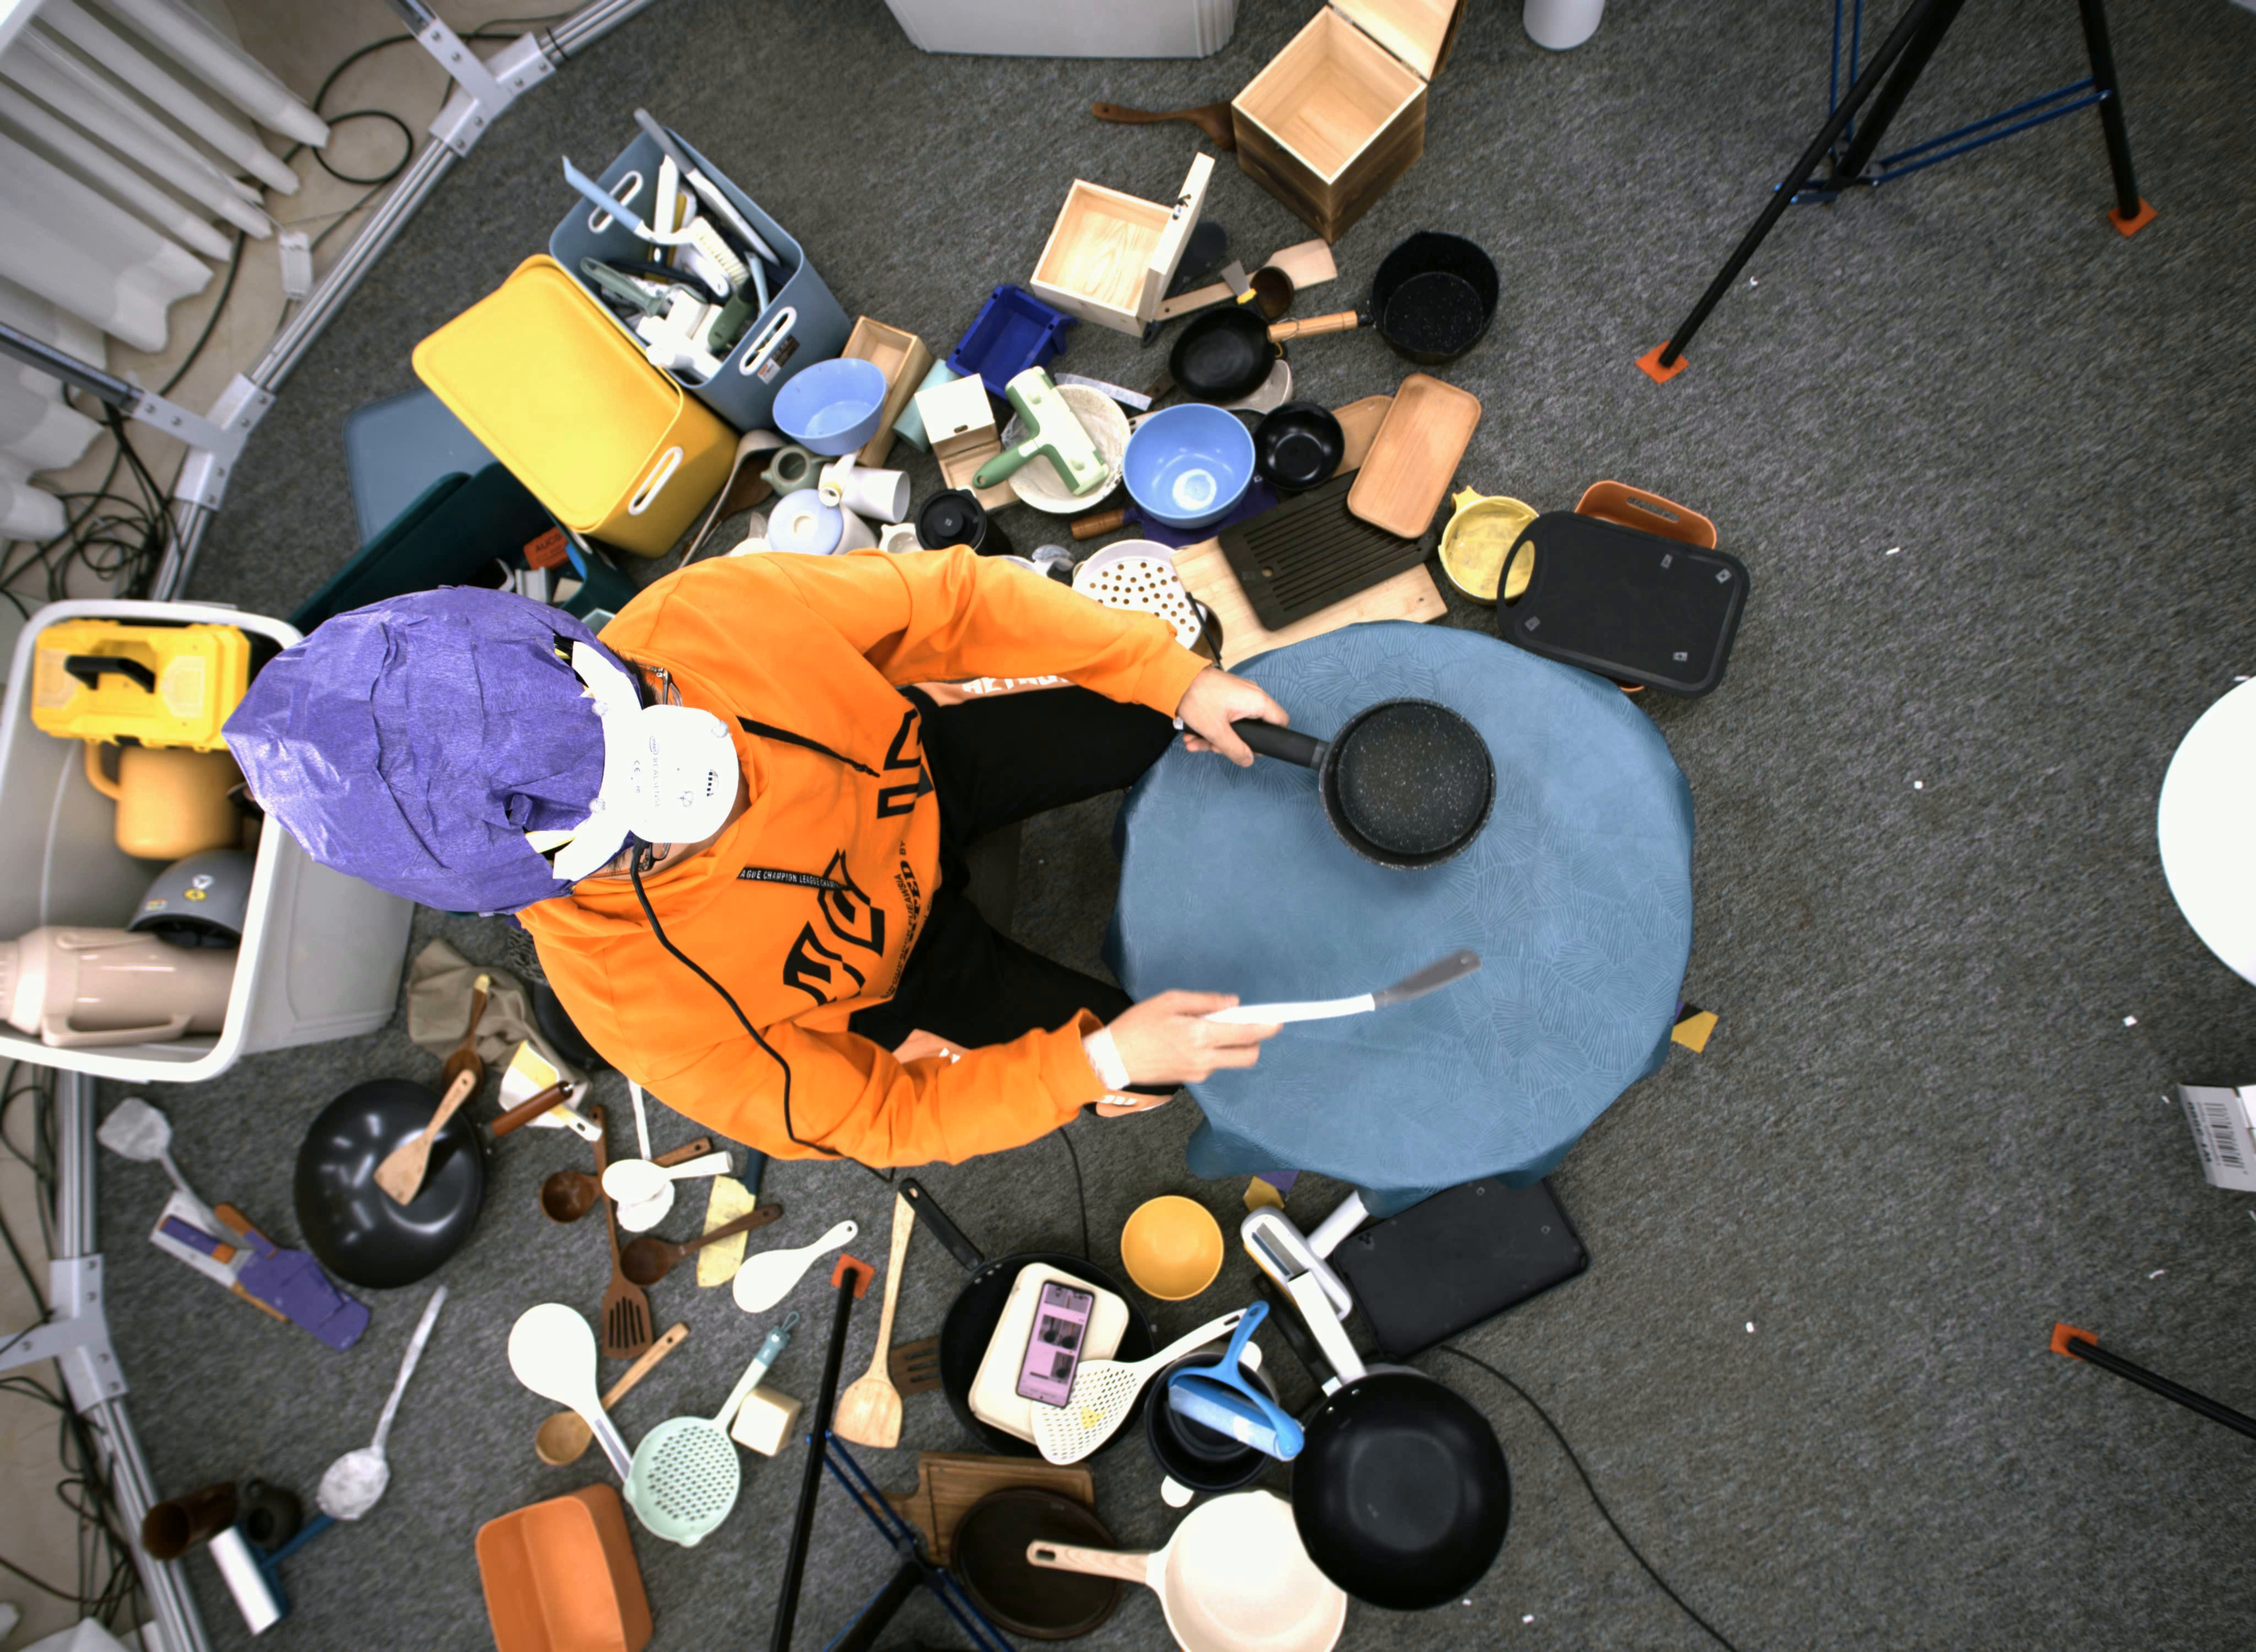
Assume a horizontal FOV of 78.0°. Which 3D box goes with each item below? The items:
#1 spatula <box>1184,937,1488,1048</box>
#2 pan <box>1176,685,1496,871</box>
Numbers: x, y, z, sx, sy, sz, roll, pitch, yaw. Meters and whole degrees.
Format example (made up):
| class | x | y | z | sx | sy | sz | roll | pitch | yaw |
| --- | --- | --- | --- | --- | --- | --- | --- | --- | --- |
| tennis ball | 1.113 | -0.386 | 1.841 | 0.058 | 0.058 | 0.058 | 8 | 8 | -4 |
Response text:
| class | x | y | z | sx | sy | sz | roll | pitch | yaw |
| --- | --- | --- | --- | --- | --- | --- | --- | --- | --- |
| spatula | 0.195 | 0.157 | 1.302 | 0.289 | 0.058 | 0.032 | -15 | 108 | 6 |
| pan | 0.209 | -0.072 | 1.396 | 0.329 | 0.085 | 0.174 | 21 | 103 | 11 |
